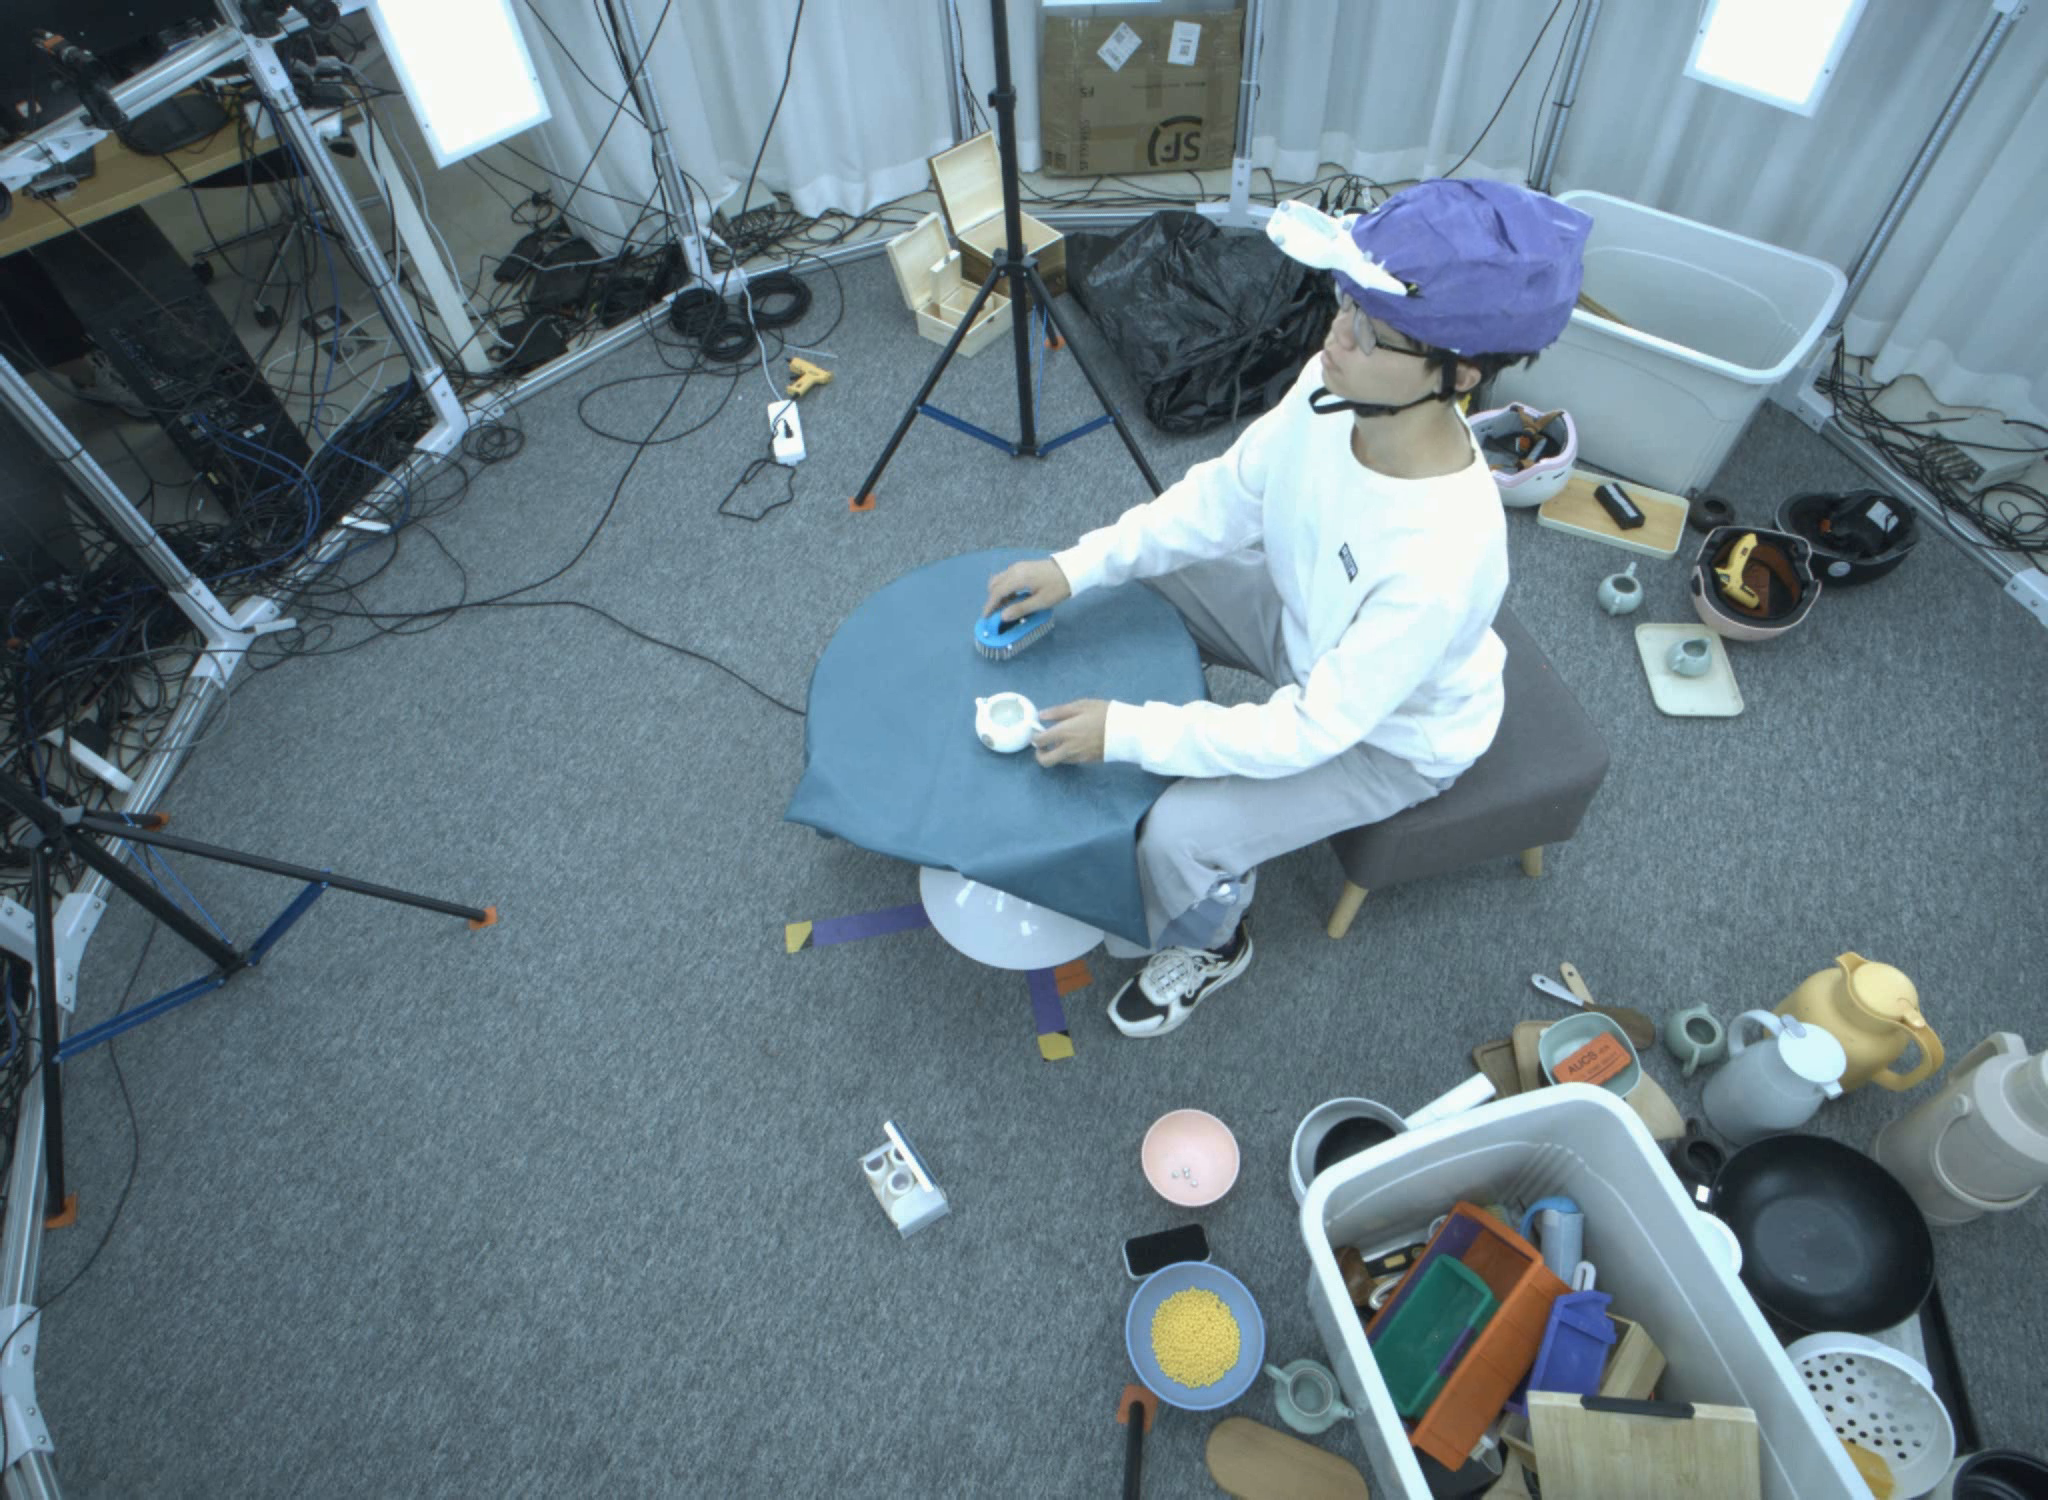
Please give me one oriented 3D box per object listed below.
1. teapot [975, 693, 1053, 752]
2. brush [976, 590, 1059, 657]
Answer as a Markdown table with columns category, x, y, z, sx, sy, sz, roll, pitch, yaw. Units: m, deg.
| category | x | y | z | sx | sy | sz | roll | pitch | yaw |
| --- | --- | --- | --- | --- | --- | --- | --- | --- | --- |
| teapot | -0.014 | -0.036 | 1.777 | 0.126 | 0.057 | 0.093 | 20 | 53 | 14 |
| brush | -0.014 | -0.207 | 1.892 | 0.143 | 0.064 | 0.082 | -34 | 55 | -21 |
